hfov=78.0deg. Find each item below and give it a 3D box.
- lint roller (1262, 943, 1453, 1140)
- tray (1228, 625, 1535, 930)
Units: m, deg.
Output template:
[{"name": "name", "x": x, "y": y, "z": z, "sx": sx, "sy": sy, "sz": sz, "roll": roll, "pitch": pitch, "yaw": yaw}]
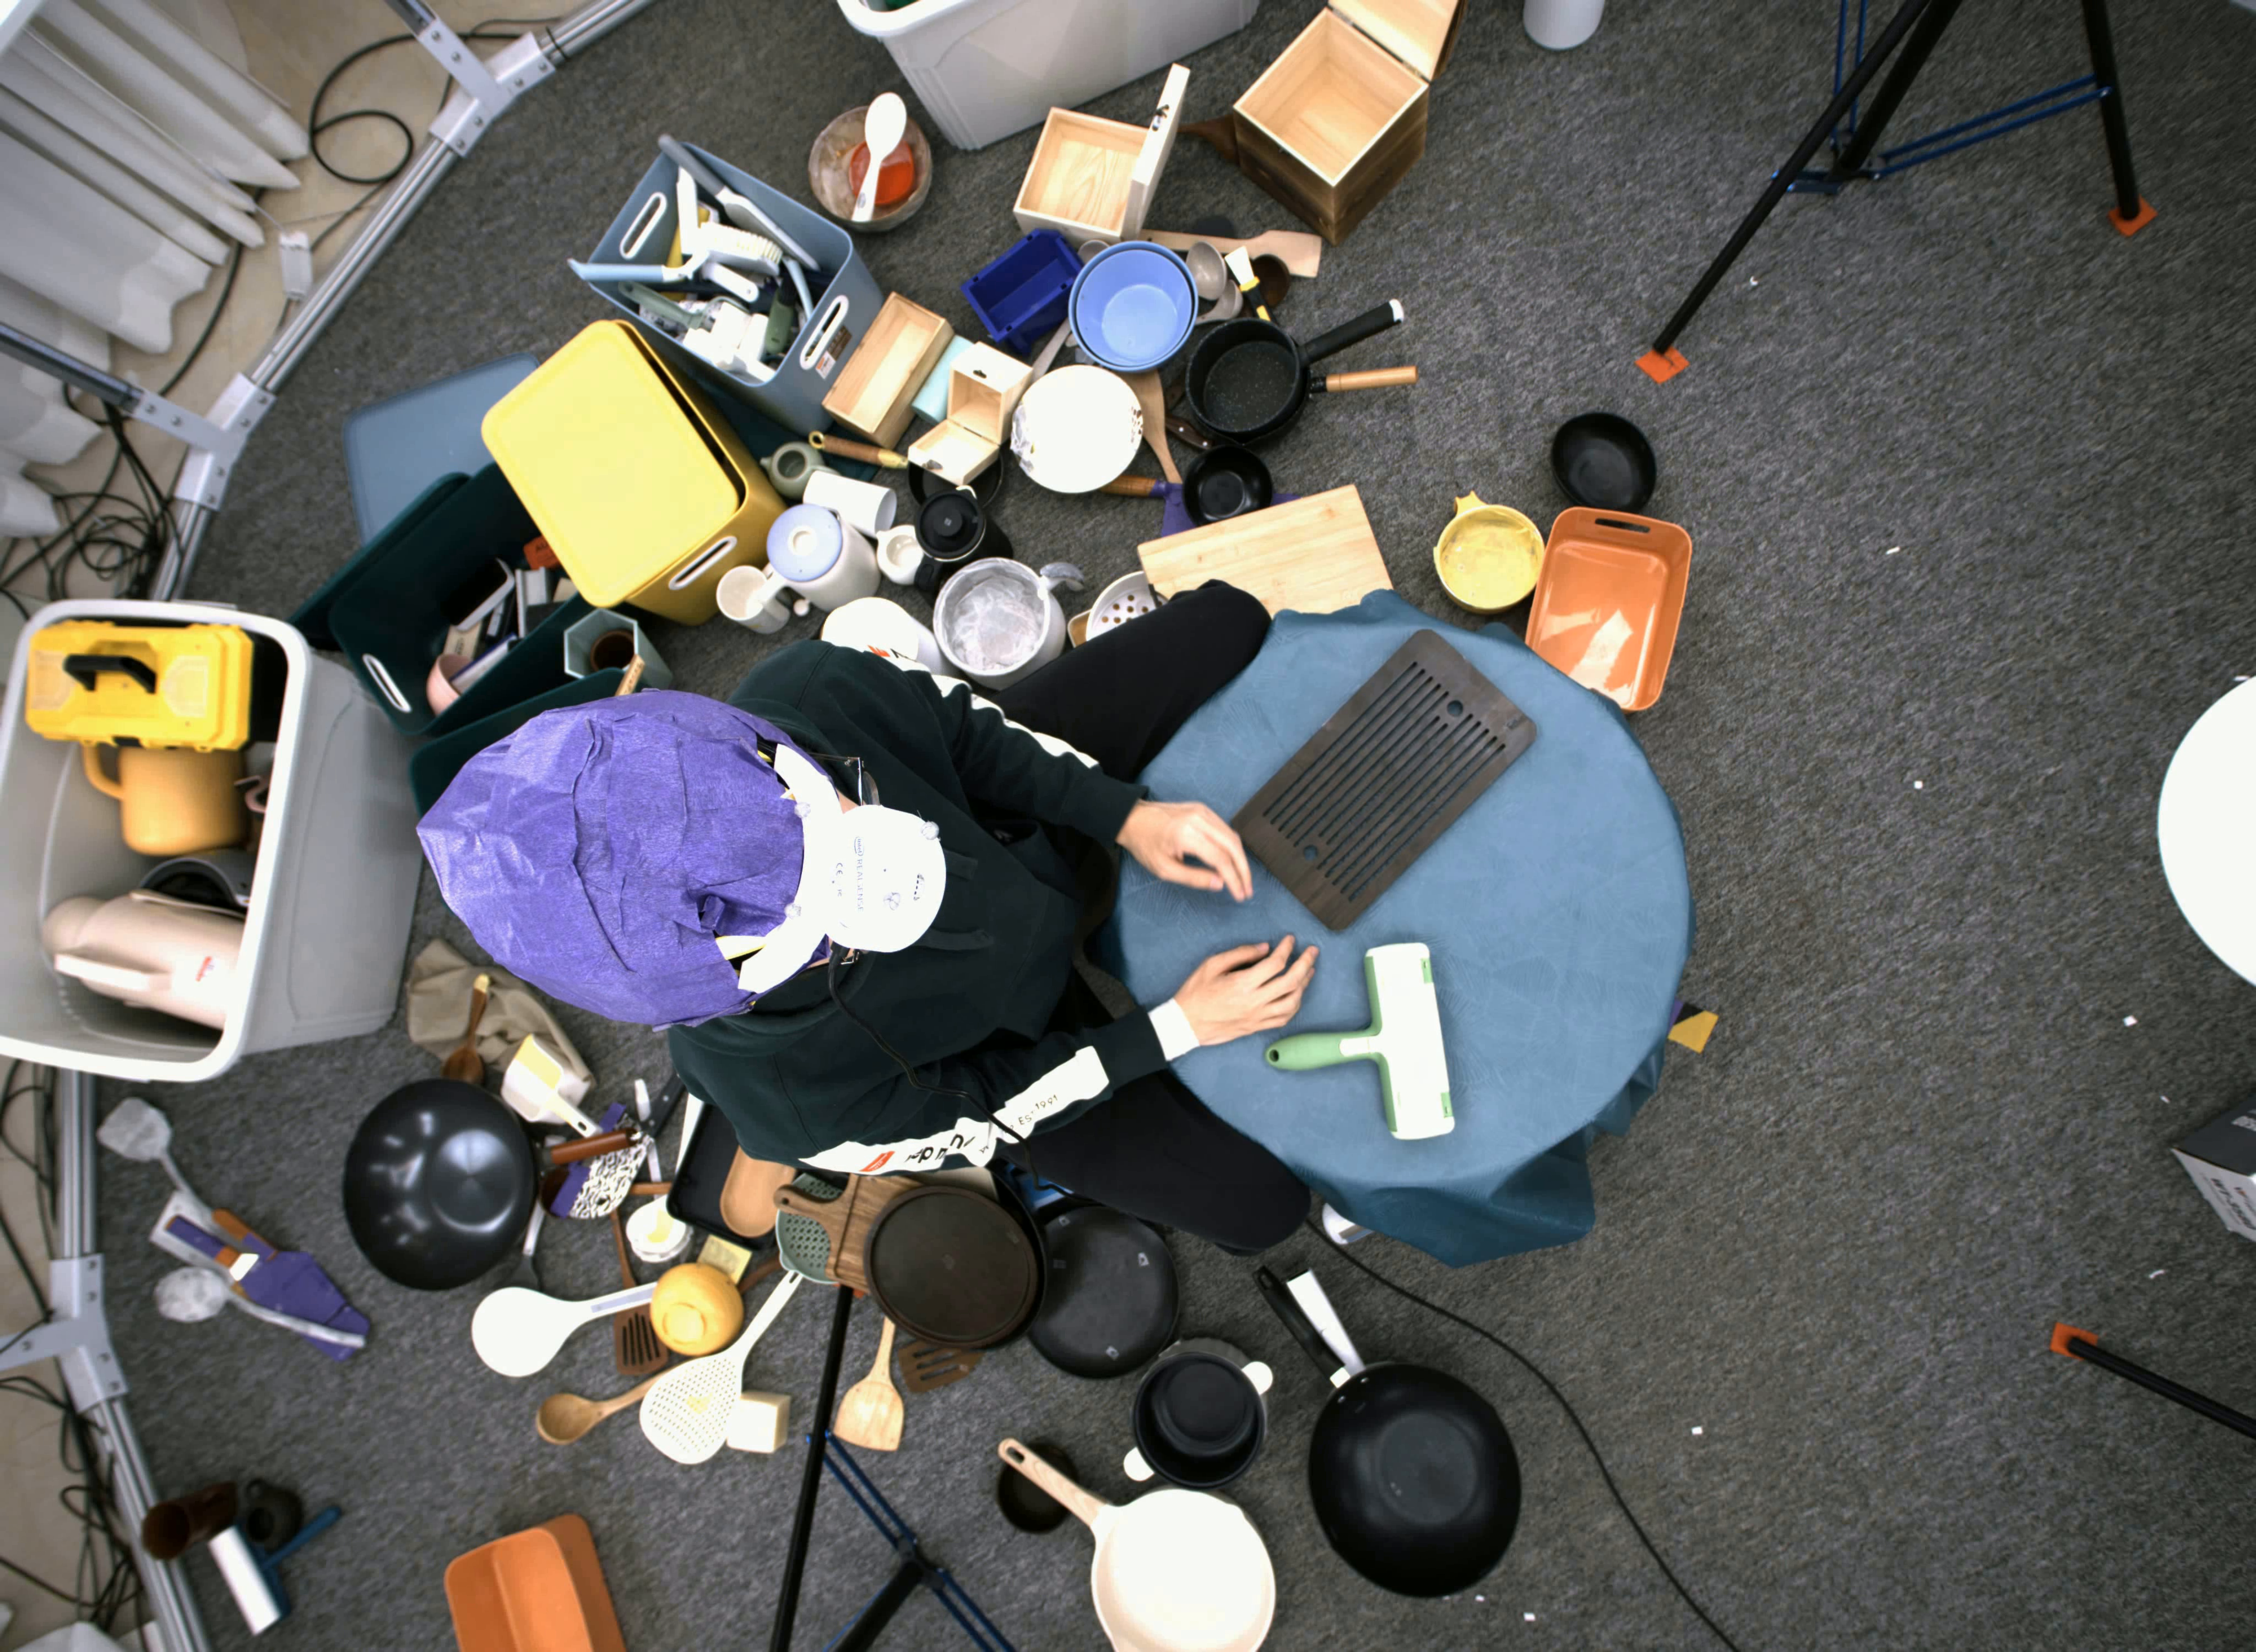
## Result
[{"name": "lint roller", "x": 0.228, "y": 0.225, "z": 1.415, "sx": 0.184, "sy": 0.082, "sz": 0.197, "roll": -8, "pitch": 86, "yaw": 6}, {"name": "tray", "x": 0.266, "y": -0.052, "z": 1.453, "sx": 0.307, "sy": 0.018, "sz": 0.169, "roll": -46, "pitch": 81, "yaw": 5}]
